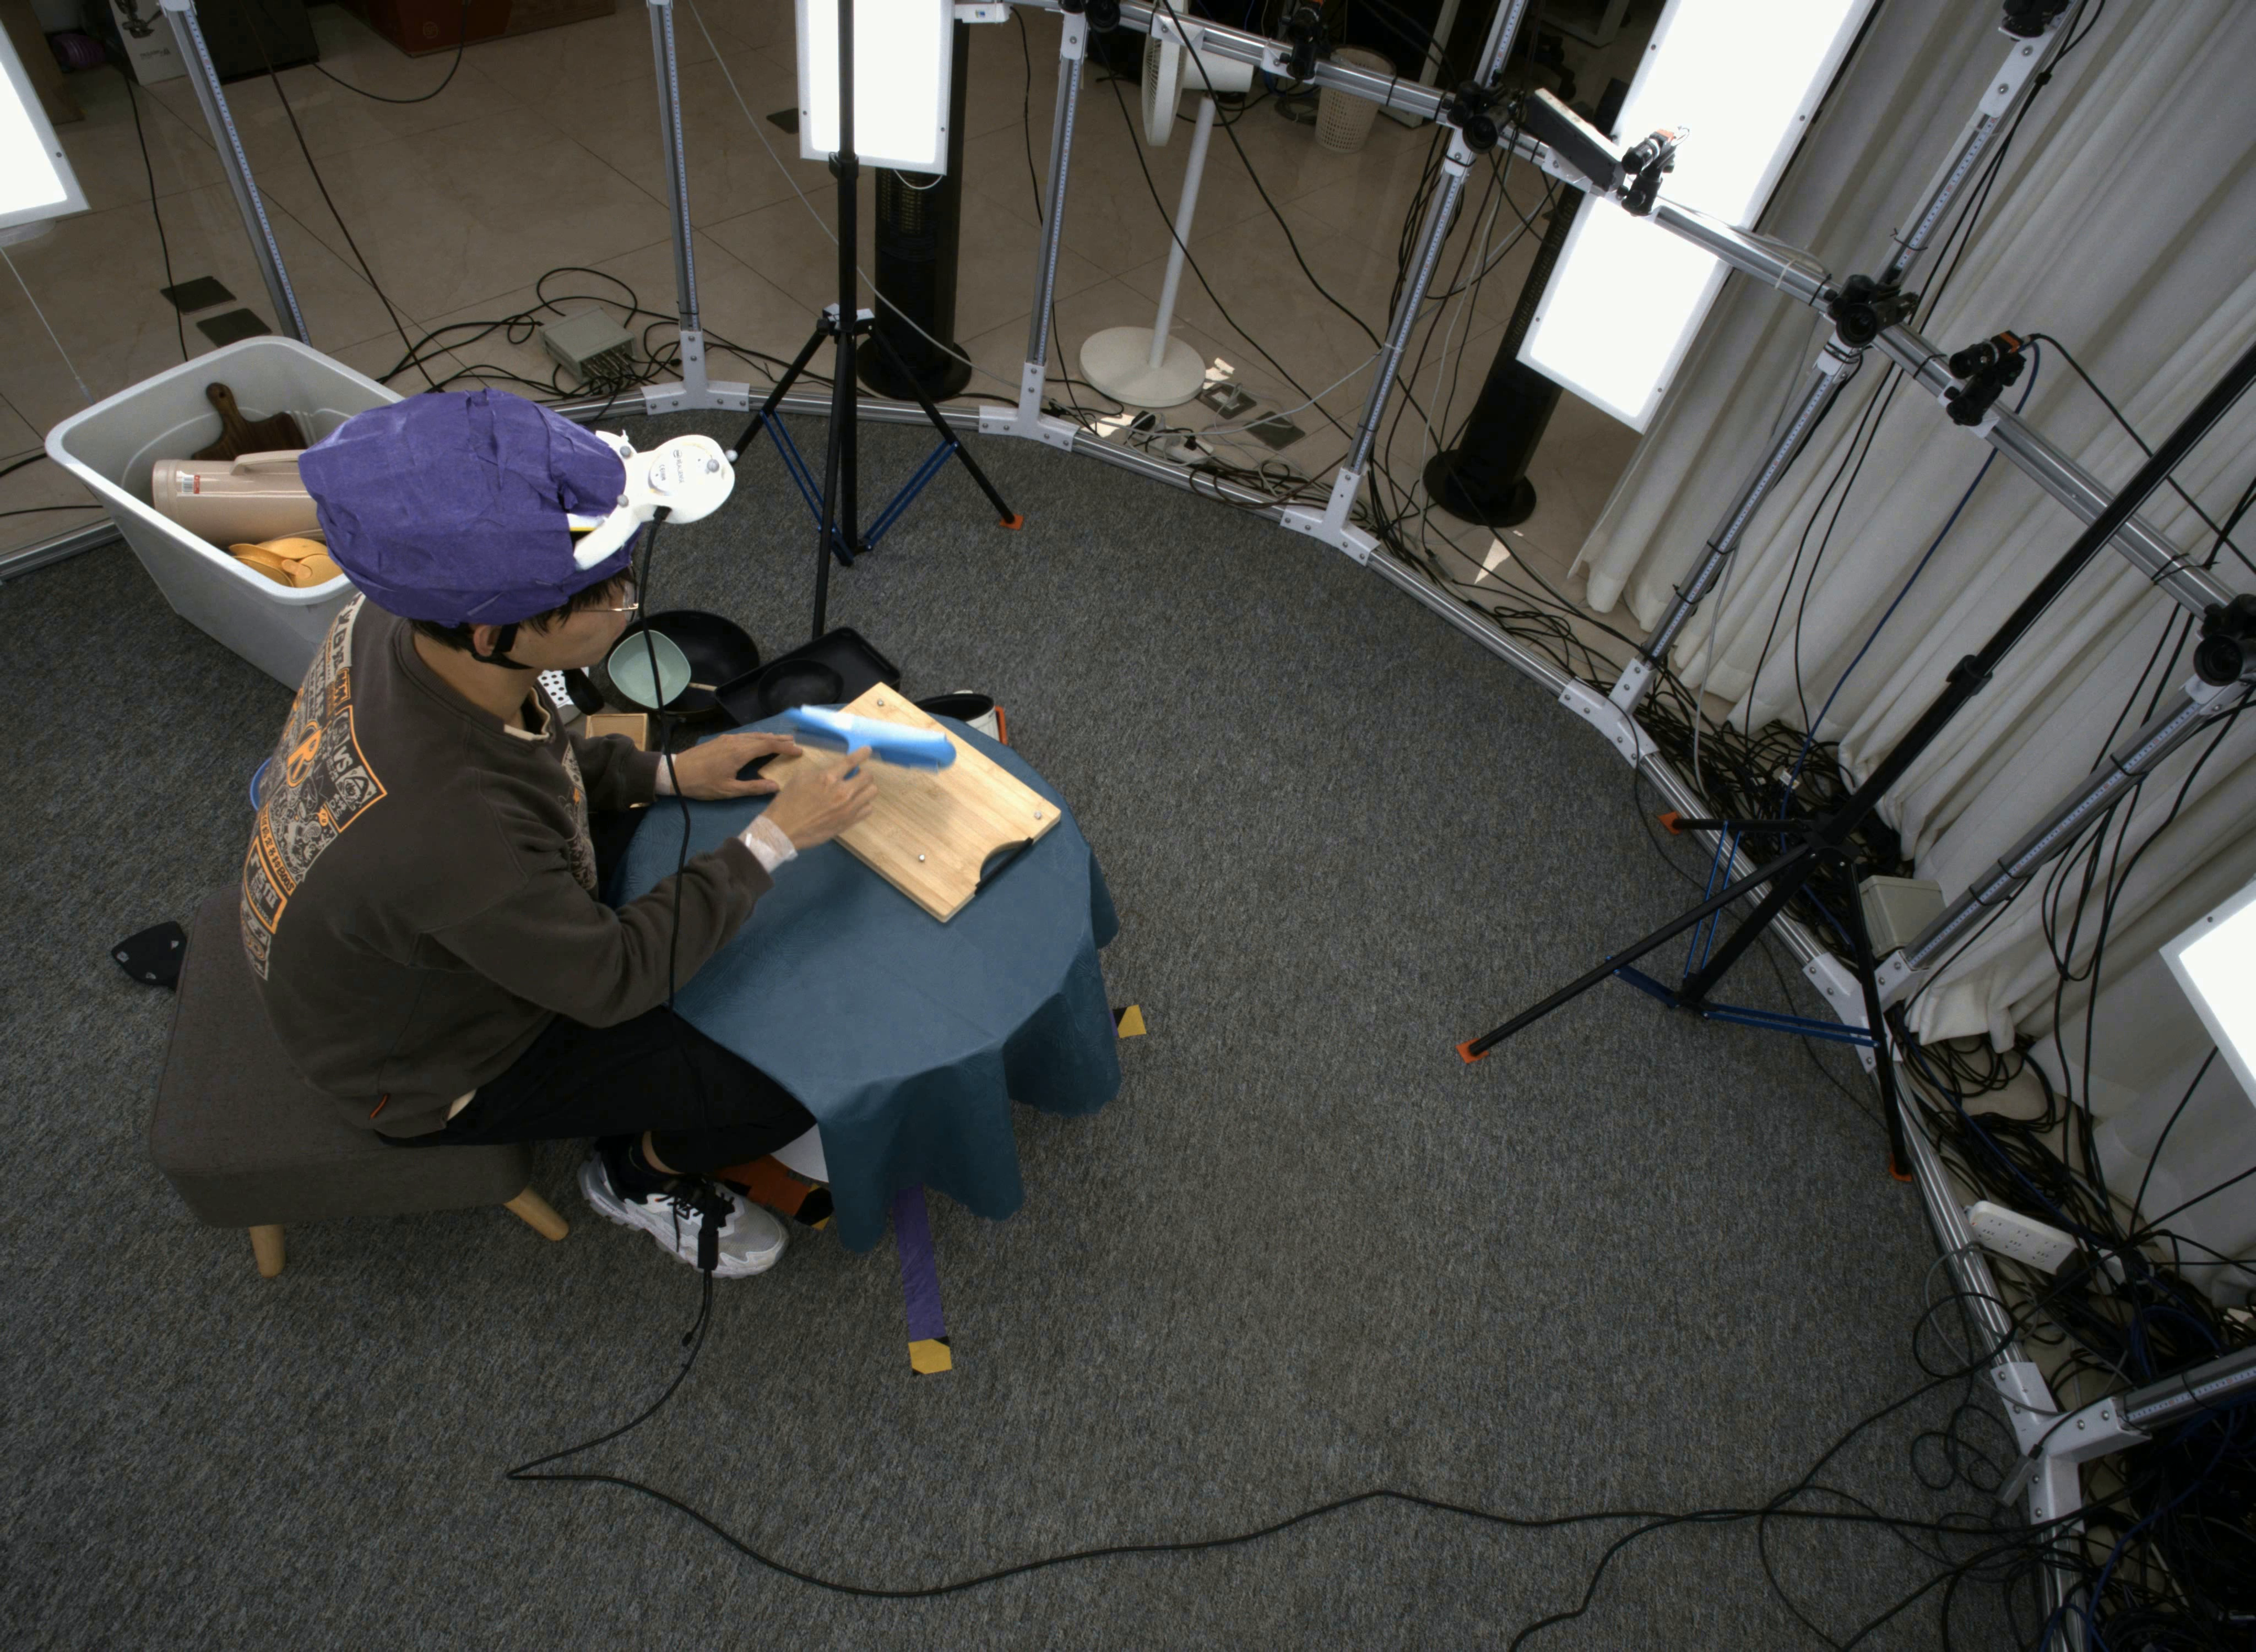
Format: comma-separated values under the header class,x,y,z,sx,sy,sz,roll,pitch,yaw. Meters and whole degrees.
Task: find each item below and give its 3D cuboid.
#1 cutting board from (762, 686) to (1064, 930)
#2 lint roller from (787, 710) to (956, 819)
class,x,y,z,sx,sy,sz,roll,pitch,yaw
cutting board,-0.293,-0.036,1.787,0.342,0.024,0.250,35,55,13
lint roller,-0.344,-0.080,1.671,0.228,0.069,0.177,13,30,-4
